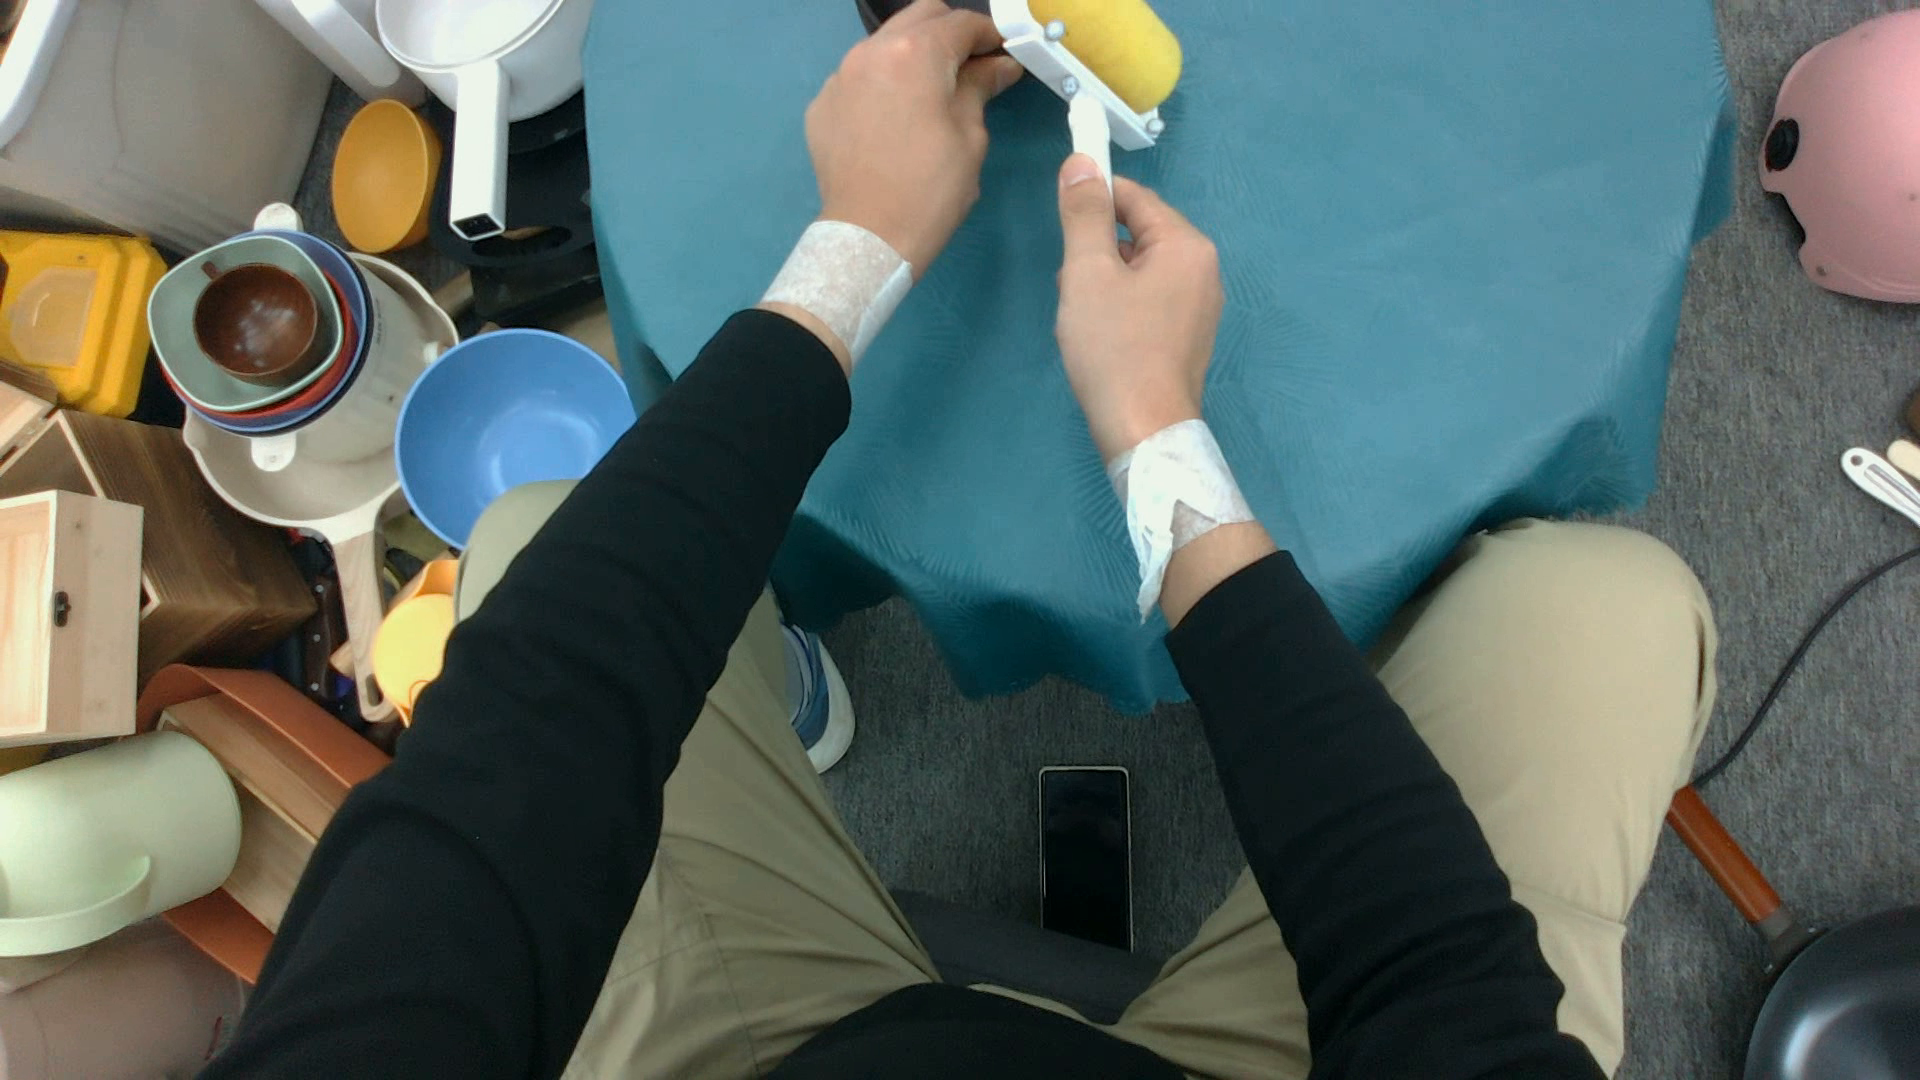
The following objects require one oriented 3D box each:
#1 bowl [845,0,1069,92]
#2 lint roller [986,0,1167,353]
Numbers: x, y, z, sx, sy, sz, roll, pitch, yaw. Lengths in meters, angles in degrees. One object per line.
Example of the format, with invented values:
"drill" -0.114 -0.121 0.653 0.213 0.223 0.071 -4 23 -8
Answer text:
"bowl" 0.000 -0.286 0.713 0.118 0.070 0.118 -1 80 6
"lint roller" 0.069 -0.184 0.638 0.051 0.174 0.192 -20 81 25
